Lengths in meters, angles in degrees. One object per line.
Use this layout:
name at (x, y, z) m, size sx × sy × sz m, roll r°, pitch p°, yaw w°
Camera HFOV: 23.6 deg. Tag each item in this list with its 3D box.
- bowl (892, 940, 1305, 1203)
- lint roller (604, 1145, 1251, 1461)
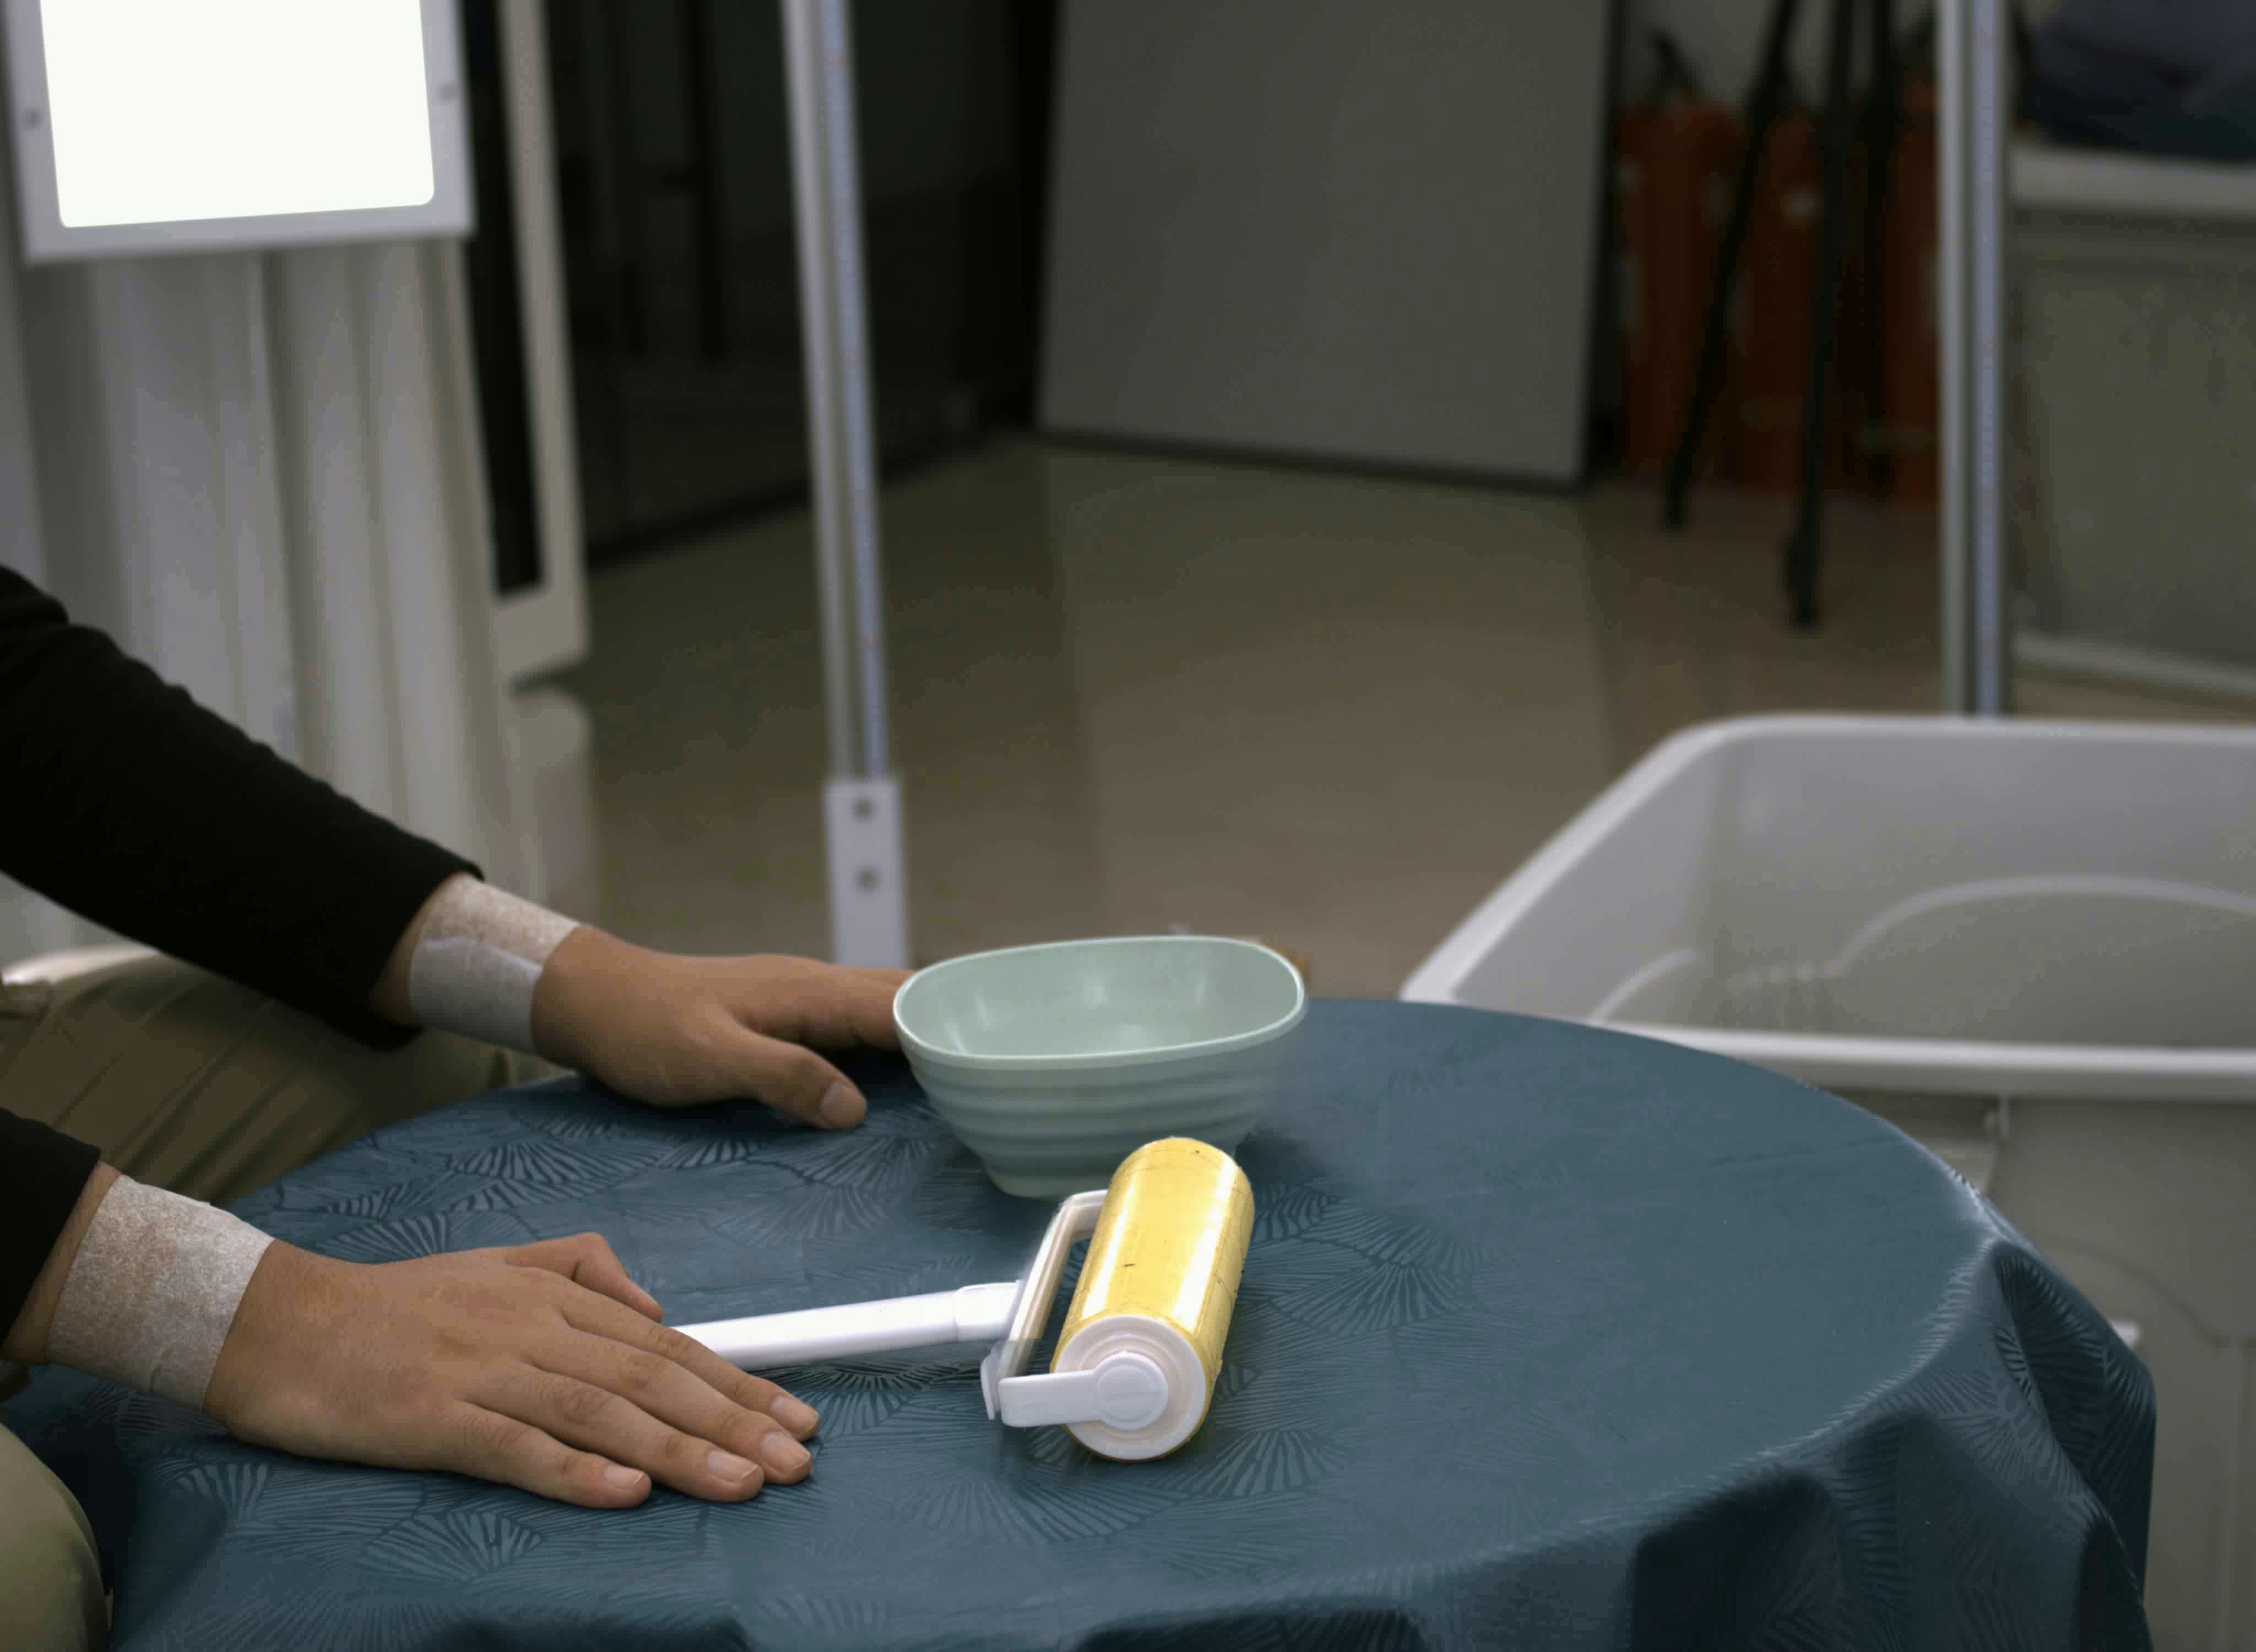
bowl at (-0.009, 0.085, 1.801) m, size 0.149 × 0.059 × 0.152 m, roll -3°, pitch 14°, yaw 0°
lint roller at (-0.061, 0.139, 1.604) m, size 0.190 × 0.052 × 0.174 m, roll 2°, pitch 14°, yaw 5°
